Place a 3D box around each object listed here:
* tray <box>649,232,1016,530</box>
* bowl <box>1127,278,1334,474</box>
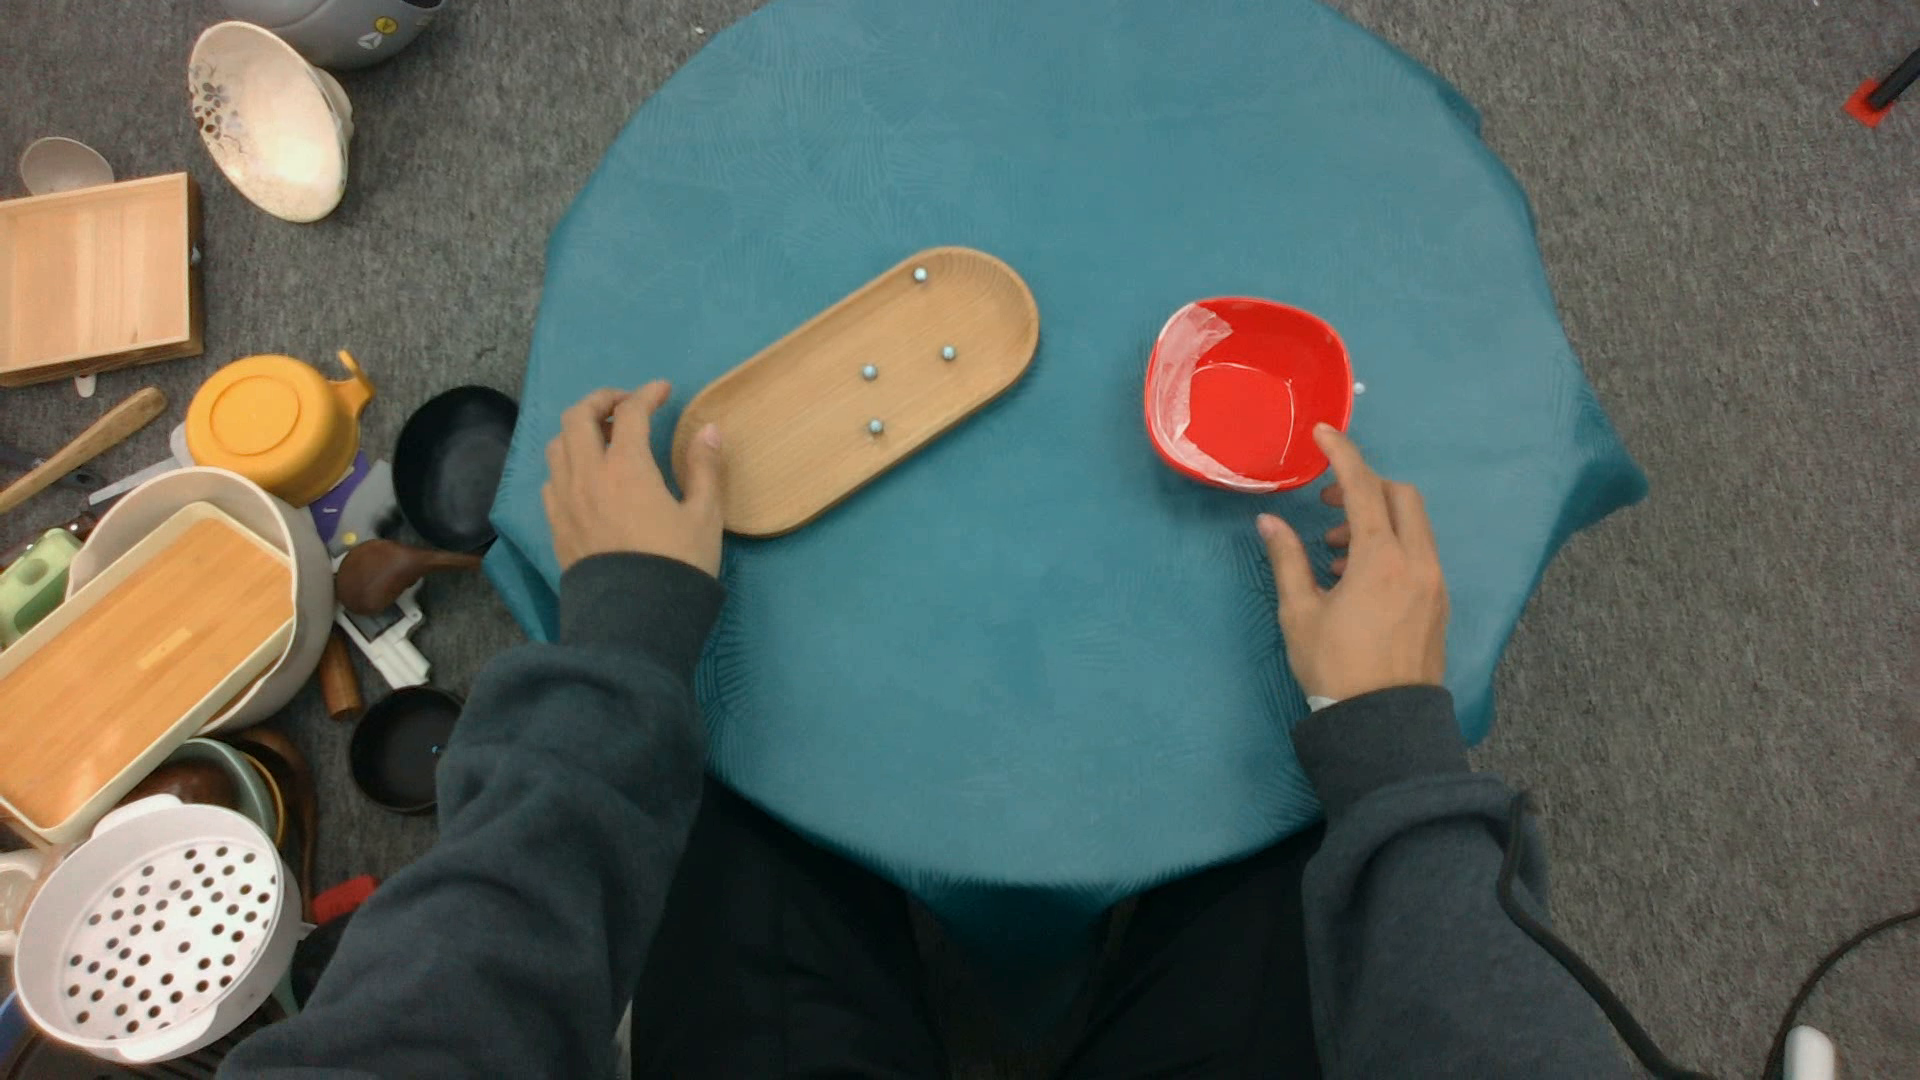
[{"bbox_3d":[-0.071,-0.092,0.783,0.231,0.020,0.102,-36,75,-9],"label":"tray"},{"bbox_3d":[0.145,-0.083,0.759,0.119,0.051,0.119,0,72,0],"label":"bowl"}]
